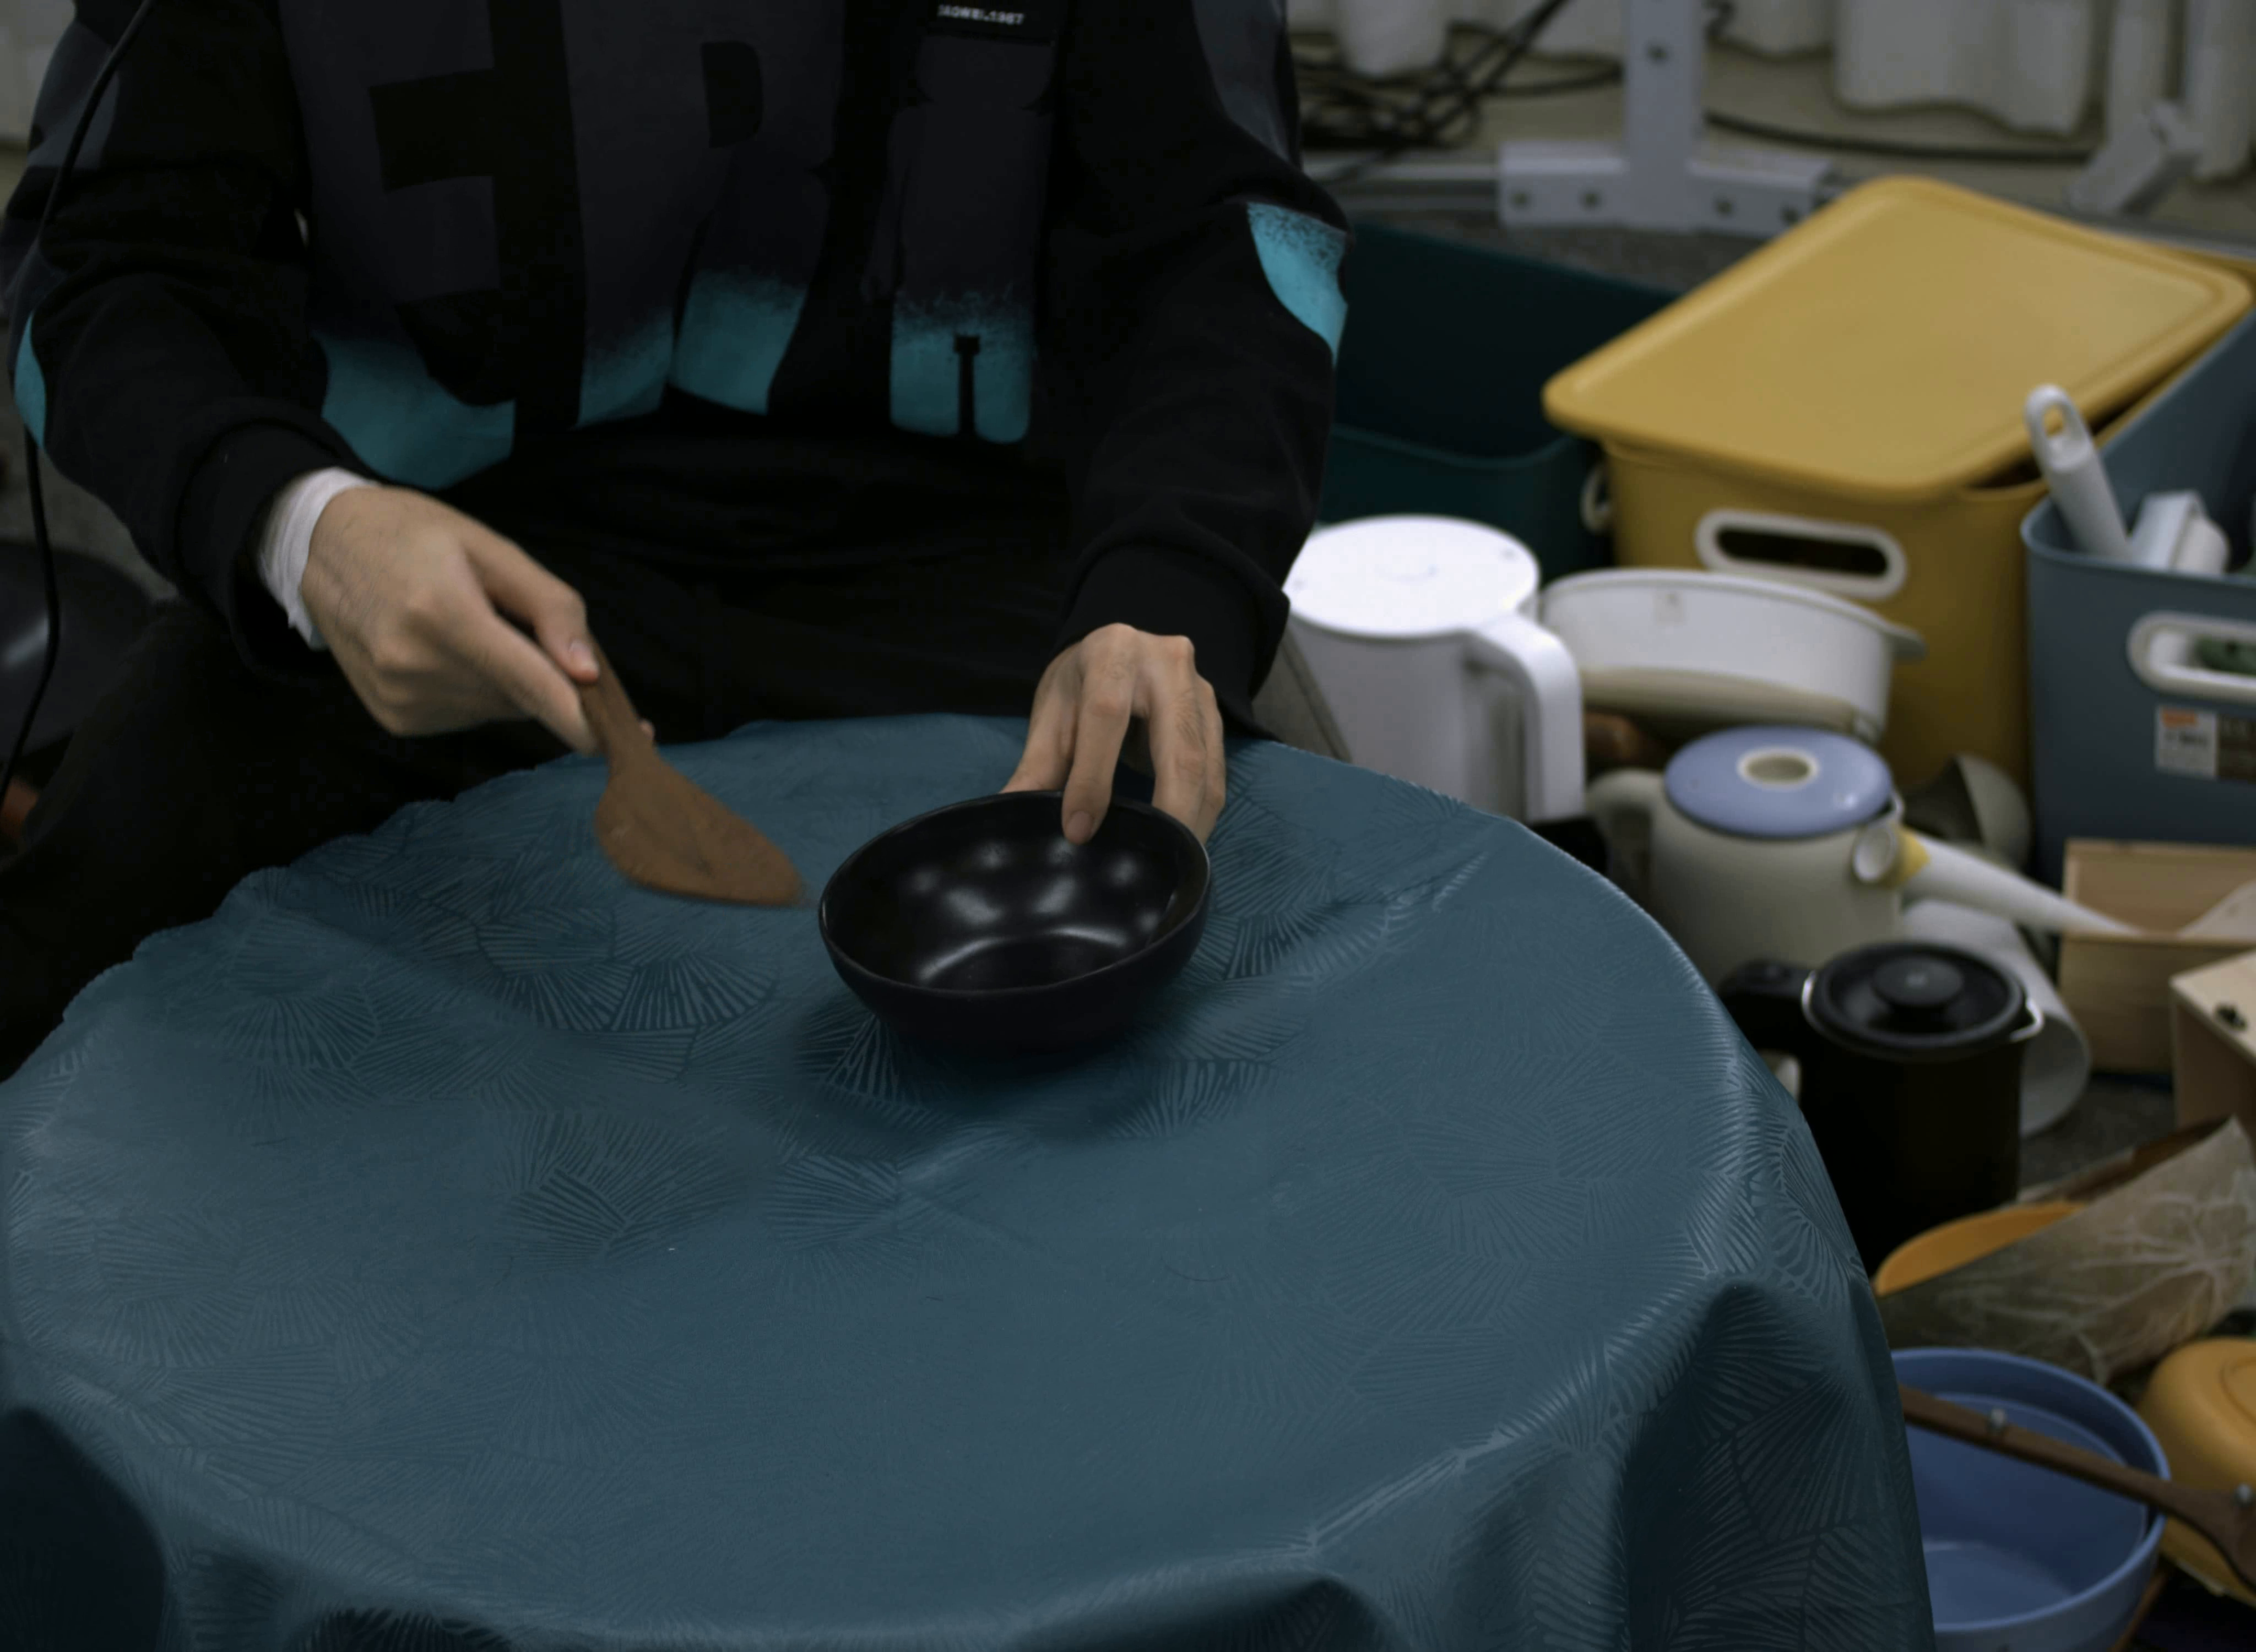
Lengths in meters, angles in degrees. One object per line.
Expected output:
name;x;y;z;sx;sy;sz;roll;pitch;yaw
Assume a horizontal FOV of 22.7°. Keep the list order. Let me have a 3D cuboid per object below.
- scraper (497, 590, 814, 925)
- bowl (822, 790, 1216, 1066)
scraper;-0.174;-0.024;1.930;0.076;0.010;0.213;7;29;-31
bowl;-0.035;0.044;1.959;0.139;0.049;0.142;-7;29;4
